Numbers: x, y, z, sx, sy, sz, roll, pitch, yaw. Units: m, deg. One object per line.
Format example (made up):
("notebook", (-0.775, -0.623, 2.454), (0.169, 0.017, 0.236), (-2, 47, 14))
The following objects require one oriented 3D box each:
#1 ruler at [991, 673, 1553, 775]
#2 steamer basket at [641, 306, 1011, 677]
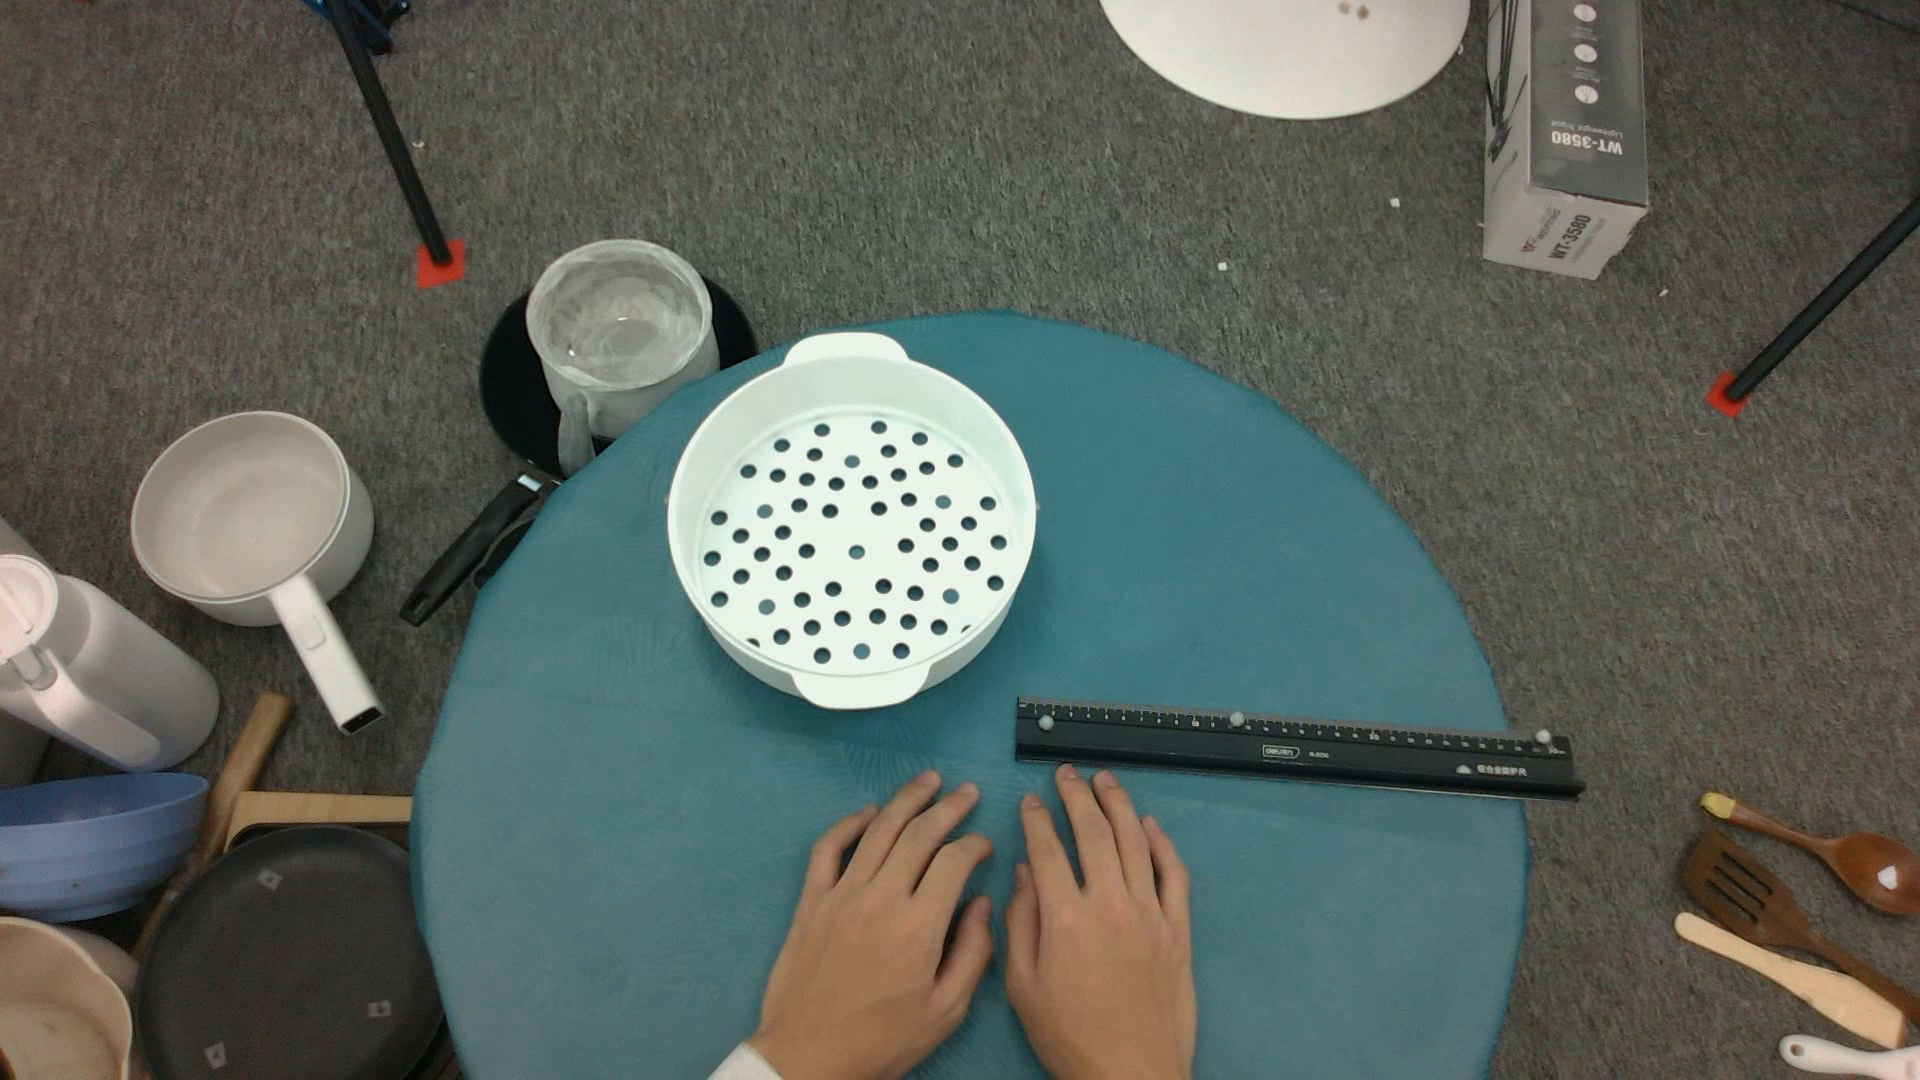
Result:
("ruler", (0.174, 0.100, 0.767), (0.312, 0.017, 0.039), (4, 62, -2))
("steamer basket", (-0.074, -0.021, 0.778), (0.202, 0.069, 0.231), (-4, 63, -5))
